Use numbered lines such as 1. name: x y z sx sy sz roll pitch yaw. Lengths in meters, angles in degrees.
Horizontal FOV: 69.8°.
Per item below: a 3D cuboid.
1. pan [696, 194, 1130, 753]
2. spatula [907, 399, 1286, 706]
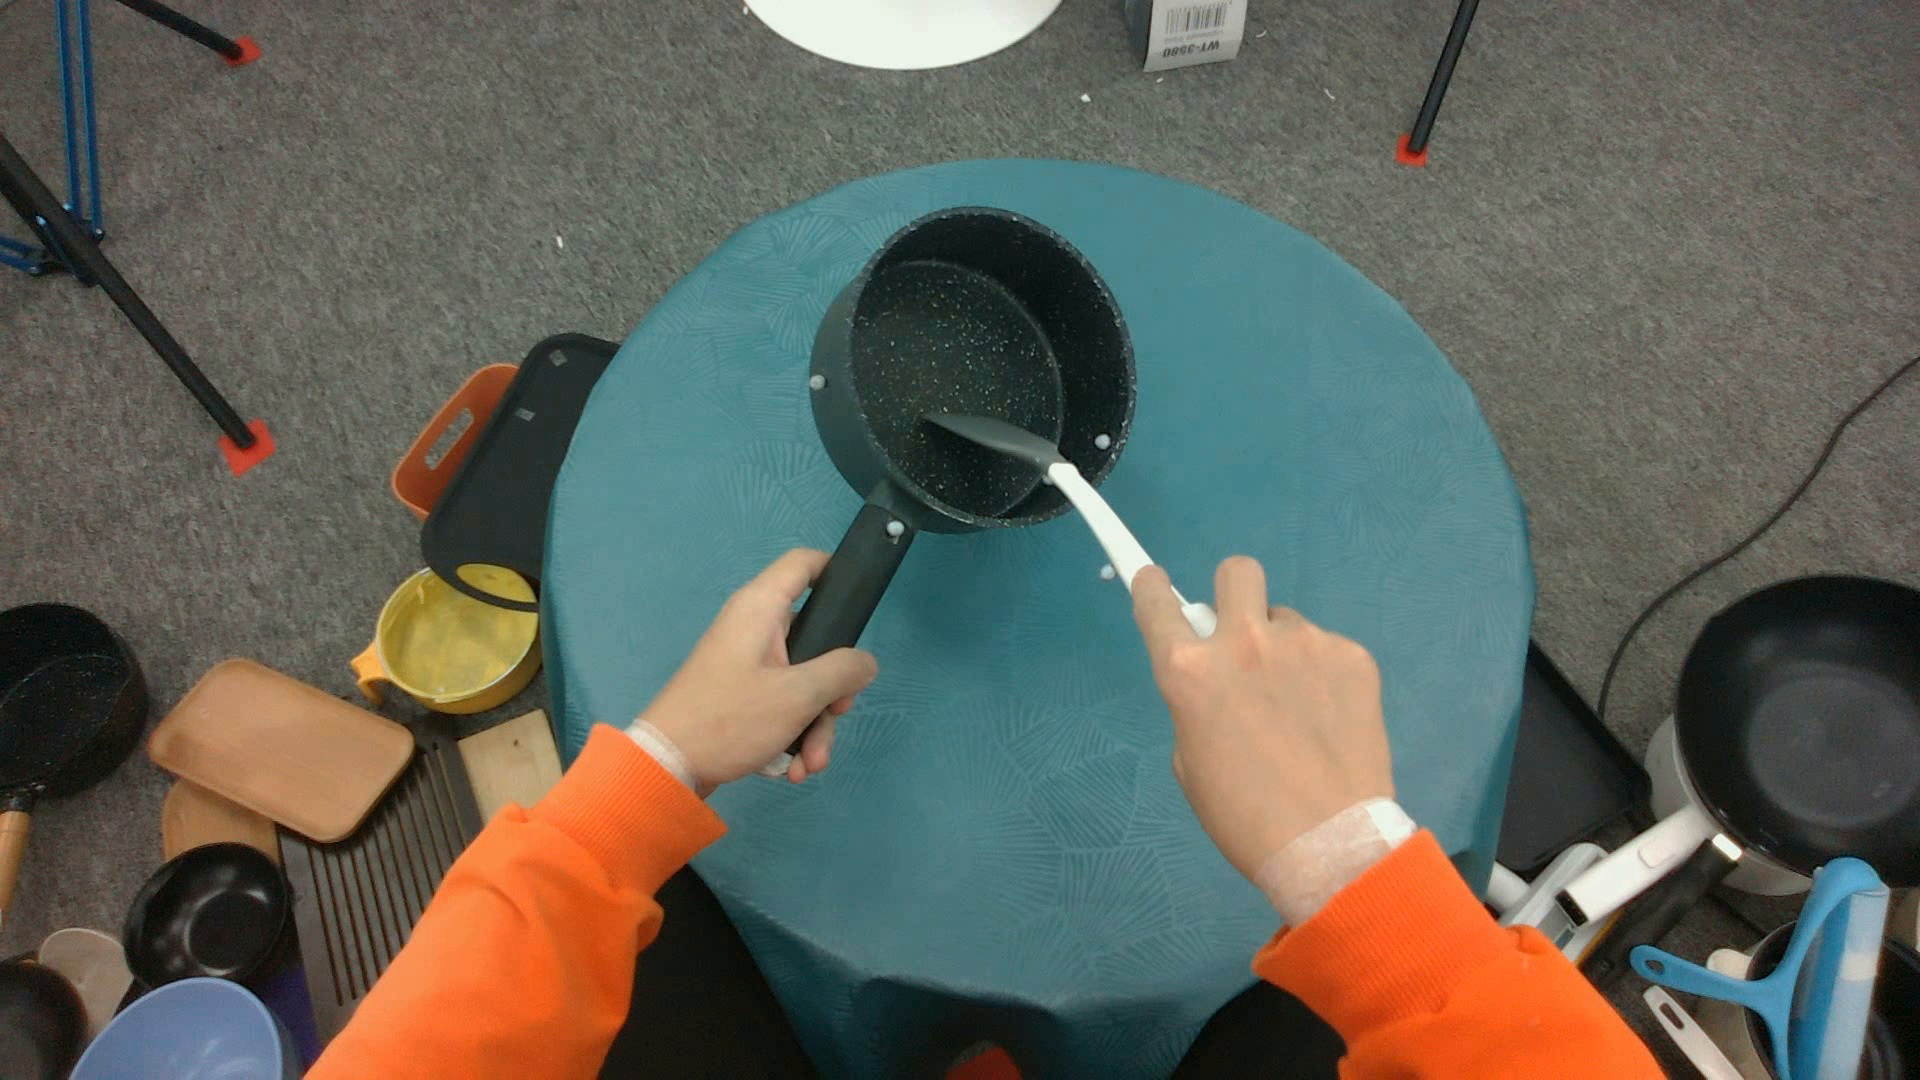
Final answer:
1. pan: -0.038 -0.031 0.722 0.172 0.086 0.330 39 67 -15
2. spatula: 0.059 -0.014 0.679 0.059 0.032 0.288 -2 31 -31
